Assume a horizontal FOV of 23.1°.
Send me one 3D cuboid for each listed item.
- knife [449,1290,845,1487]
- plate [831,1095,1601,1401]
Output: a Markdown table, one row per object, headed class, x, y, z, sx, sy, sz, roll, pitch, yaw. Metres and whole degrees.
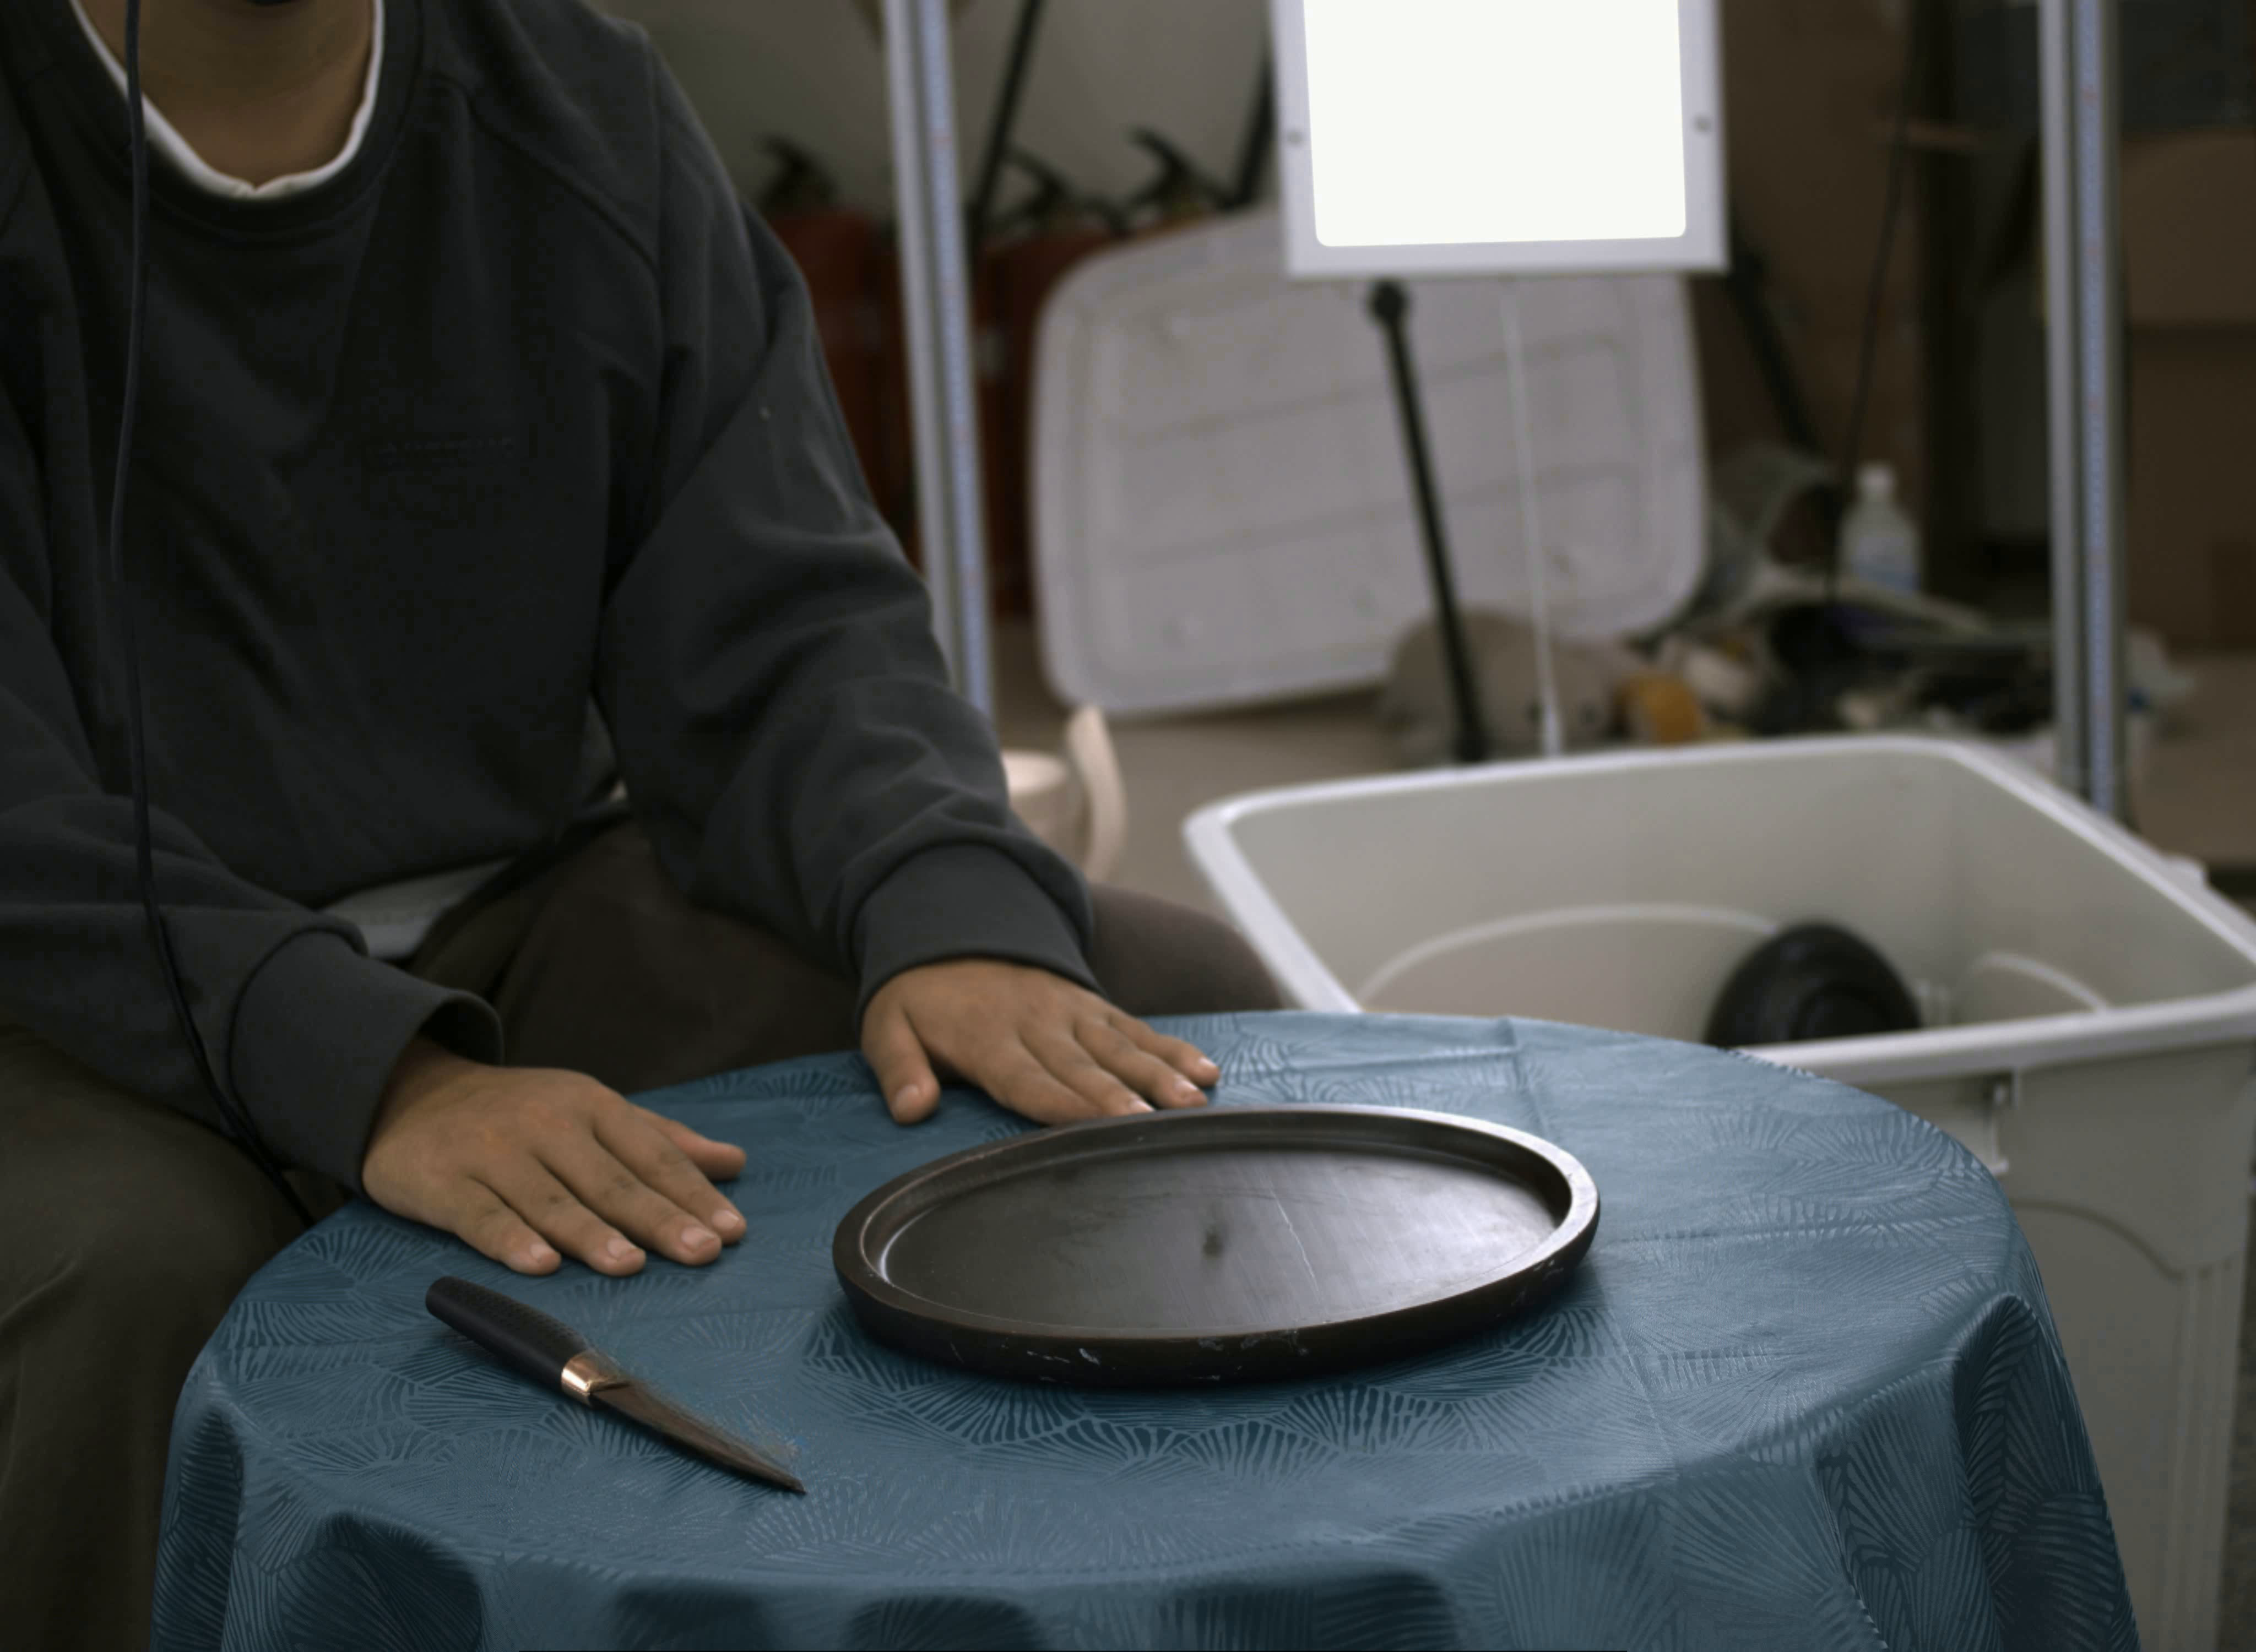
| class | x | y | z | sx | sy | sz | roll | pitch | yaw |
| --- | --- | --- | --- | --- | --- | --- | --- | --- | --- |
| knife | -0.153 | 0.177 | 1.725 | 0.025 | 0.017 | 0.230 | -8 | 14 | -33 |
| plate | 0.029 | 0.136 | 1.801 | 0.254 | 0.029 | 0.254 | -7 | 13 | 0 |
